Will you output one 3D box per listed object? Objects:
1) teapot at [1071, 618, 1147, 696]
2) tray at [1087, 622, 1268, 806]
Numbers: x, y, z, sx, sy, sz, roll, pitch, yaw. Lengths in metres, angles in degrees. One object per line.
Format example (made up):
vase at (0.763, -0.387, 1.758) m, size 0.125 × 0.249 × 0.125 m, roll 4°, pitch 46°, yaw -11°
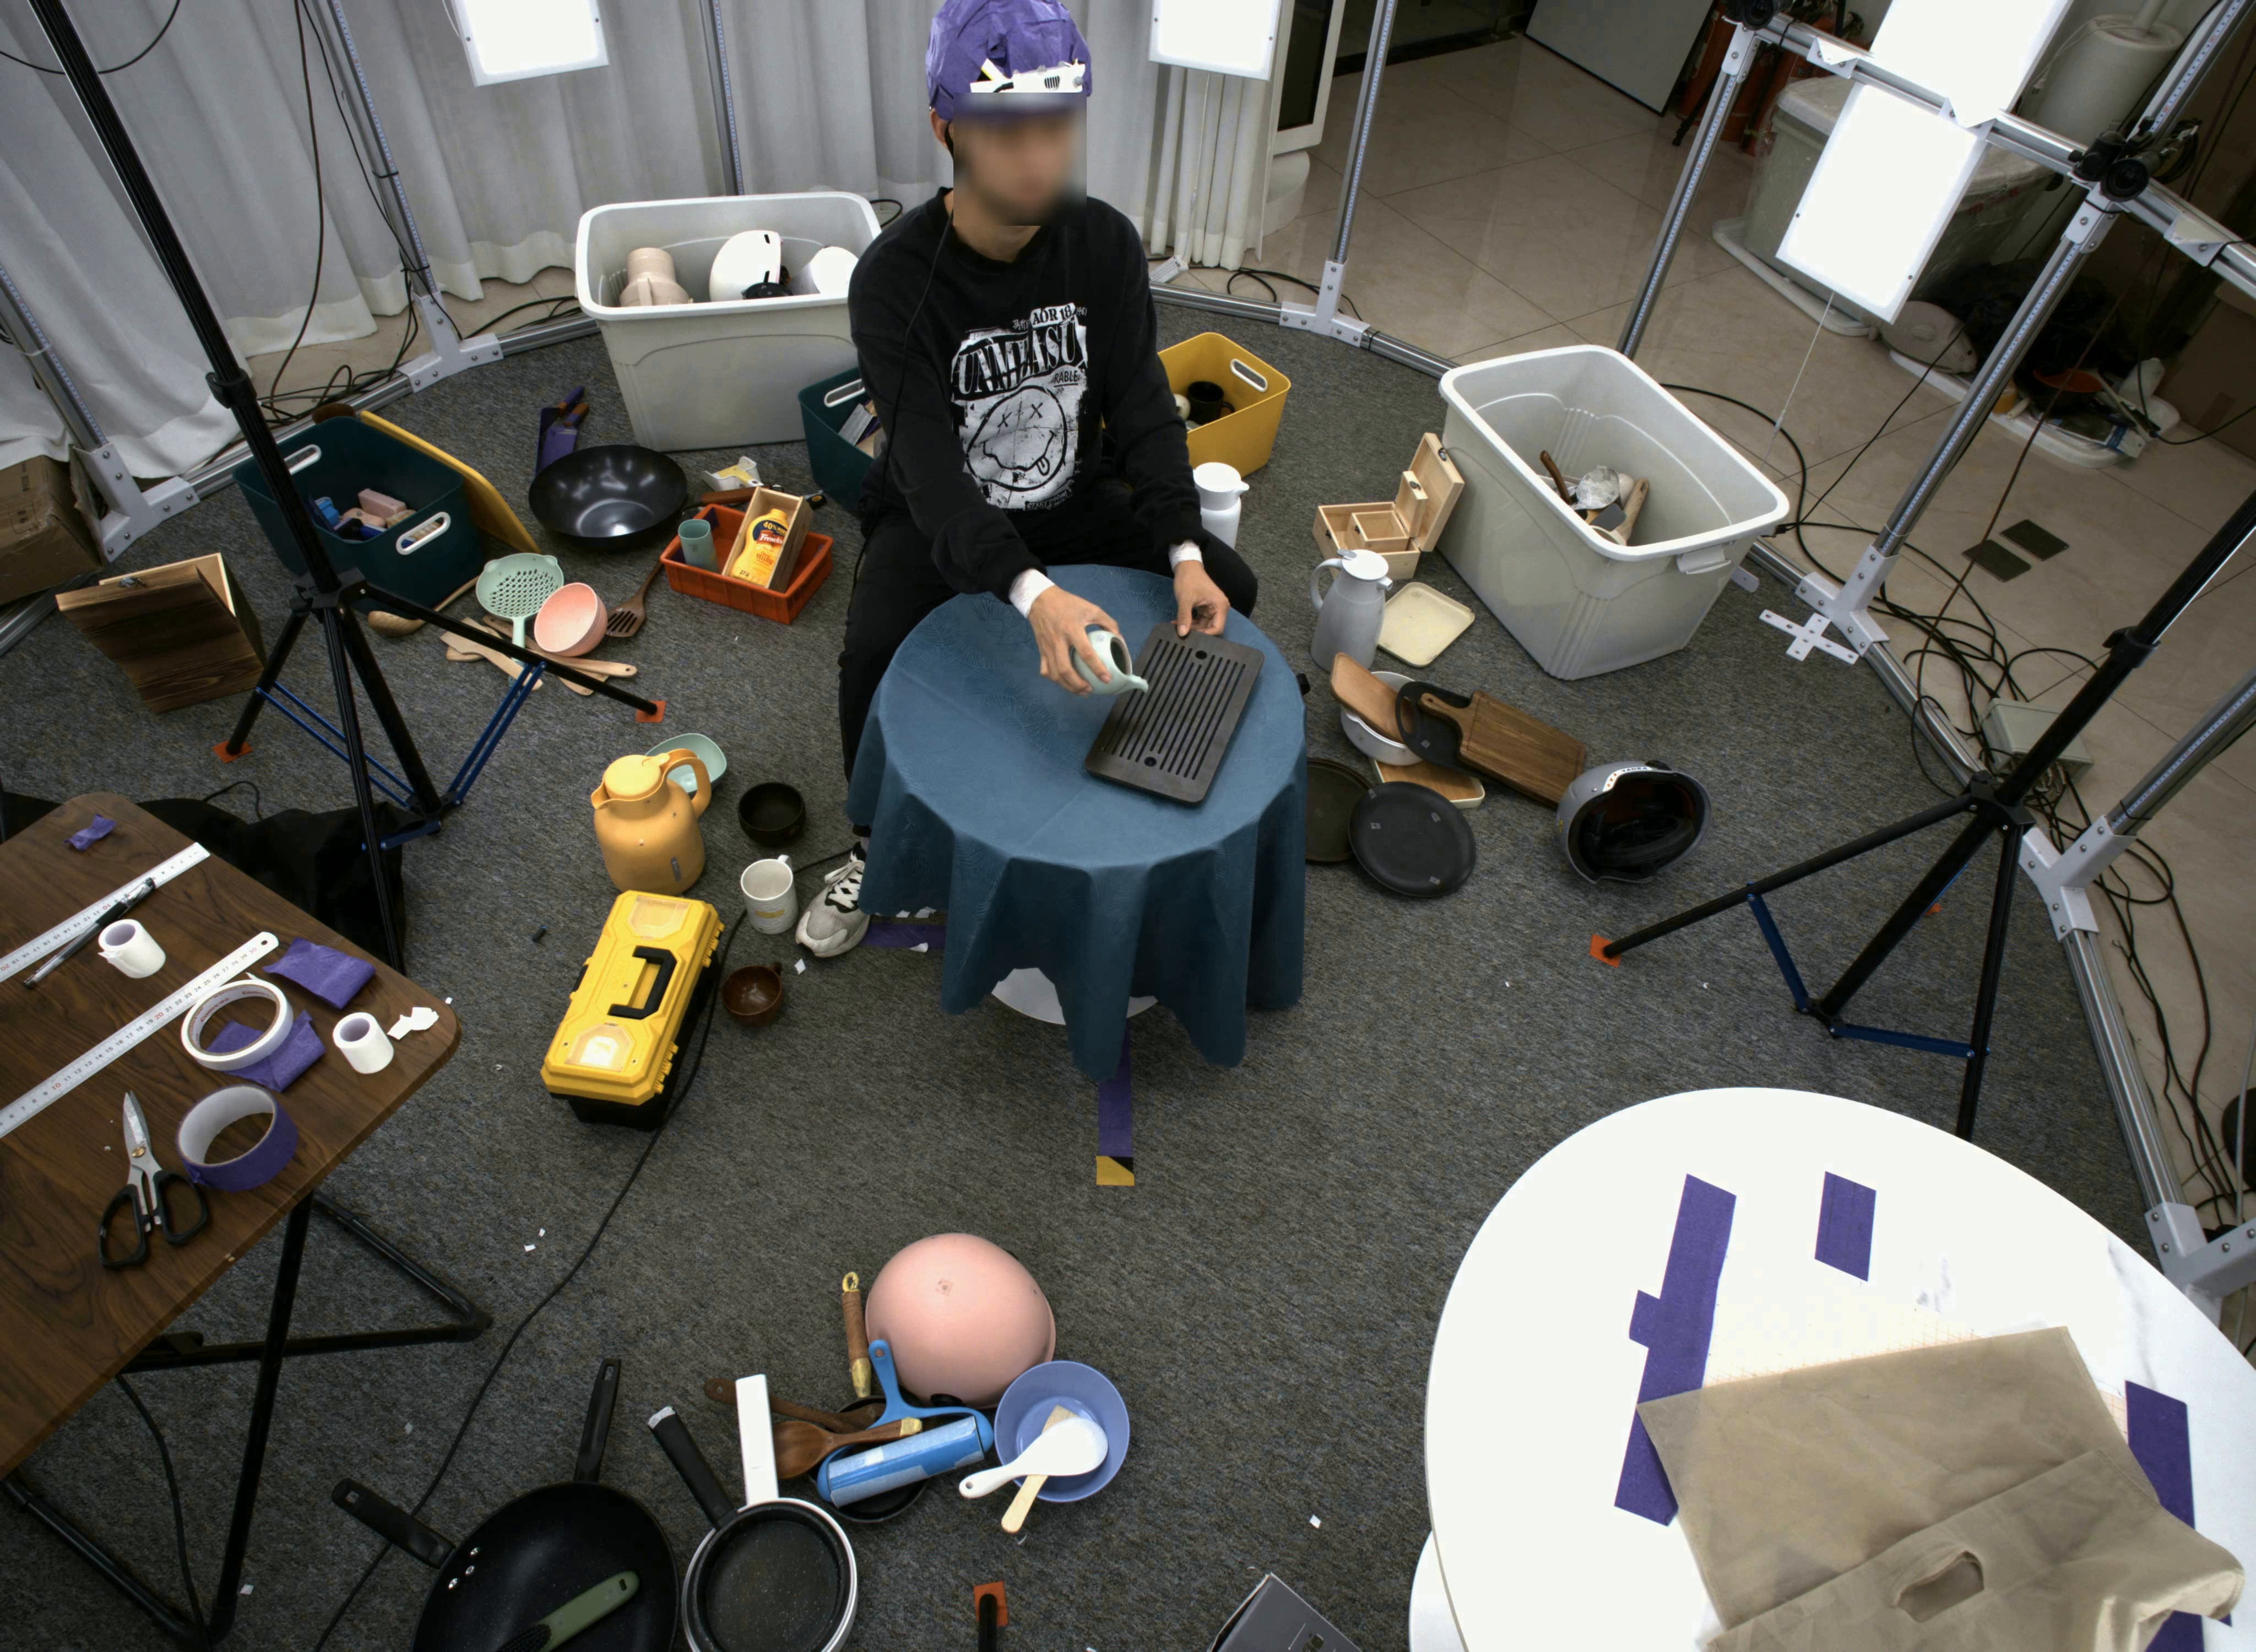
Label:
teapot at (-0.035, -0.220, 1.729) m, size 0.074 × 0.141 × 0.090 m, roll -17°, pitch 40°, yaw 24°
tray at (0.074, -0.161, 1.792) m, size 0.171 × 0.018 × 0.312 m, roll 17°, pitch 53°, yaw 12°
